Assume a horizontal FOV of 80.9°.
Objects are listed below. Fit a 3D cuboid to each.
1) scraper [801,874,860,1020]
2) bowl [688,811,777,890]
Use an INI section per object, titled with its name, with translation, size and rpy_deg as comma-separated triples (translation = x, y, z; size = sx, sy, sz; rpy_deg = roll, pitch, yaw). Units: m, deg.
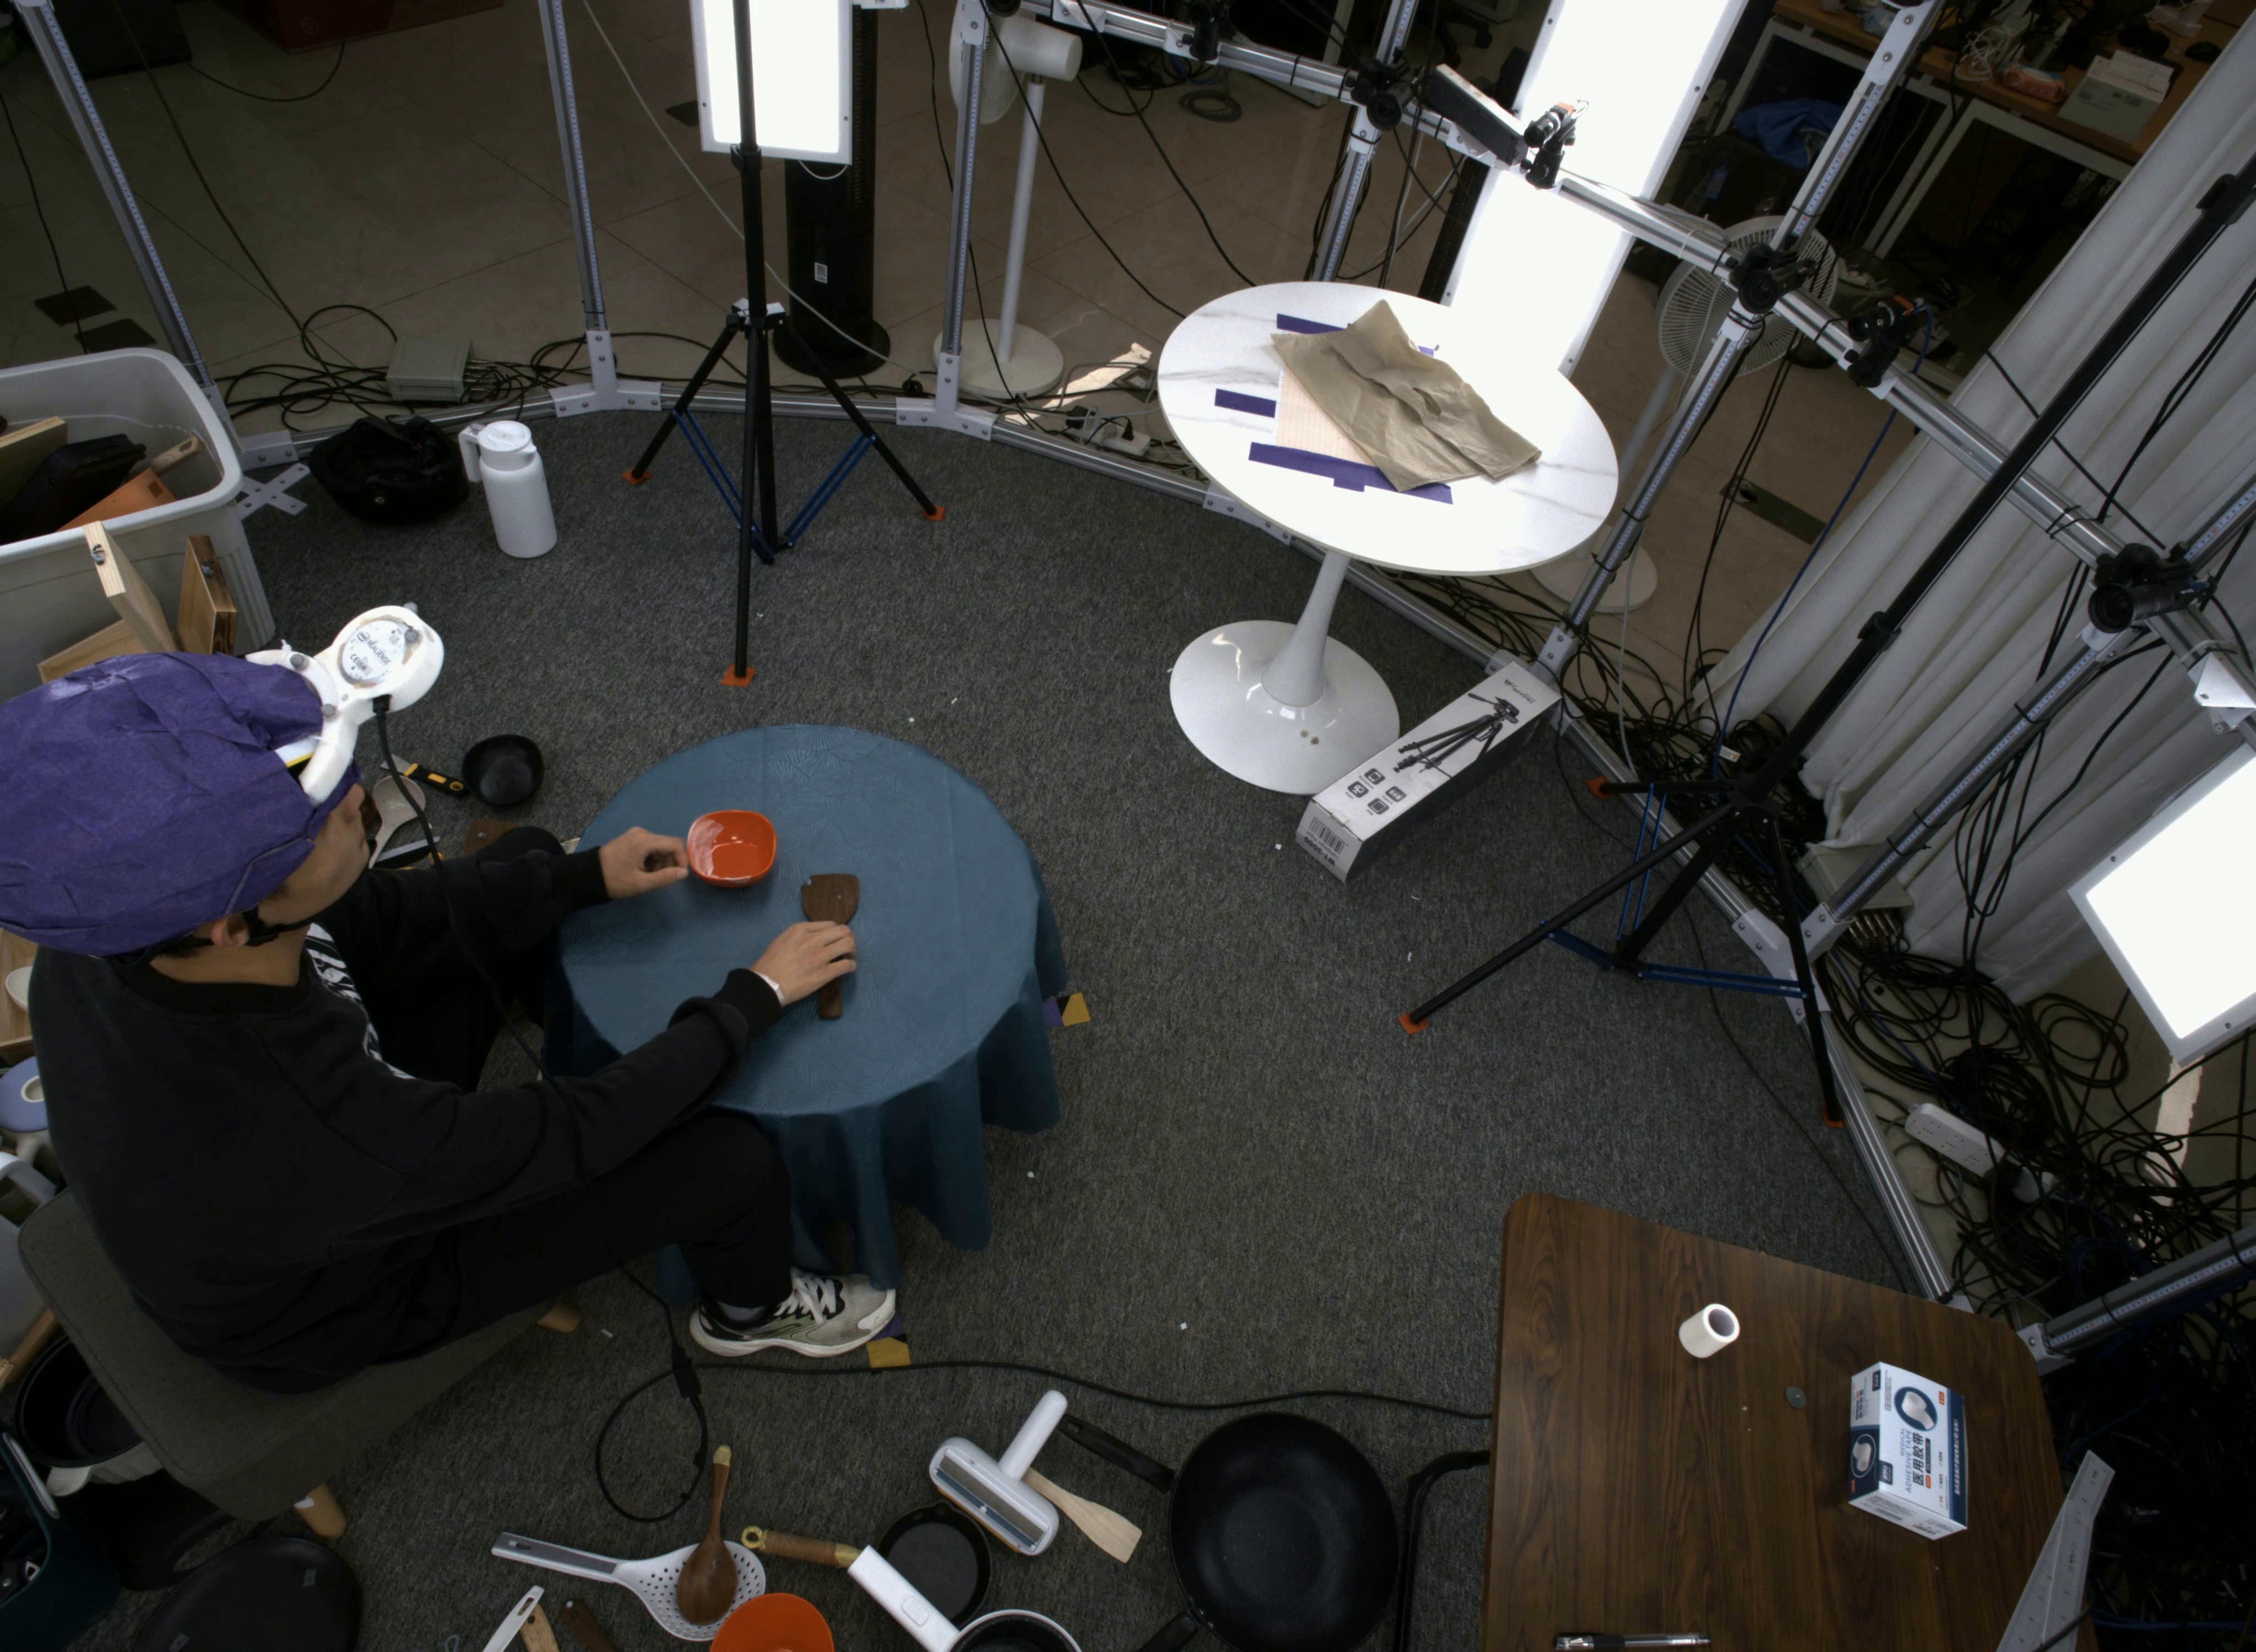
[scraper]
translation = -0.372, 0.147, 1.627
size = 0.076, 0.011, 0.207
rpy_deg = -1, 54, -13
[bowl]
translation = -0.503, 0.038, 1.649
size = 0.119, 0.052, 0.117
rpy_deg = 8, 52, -9
